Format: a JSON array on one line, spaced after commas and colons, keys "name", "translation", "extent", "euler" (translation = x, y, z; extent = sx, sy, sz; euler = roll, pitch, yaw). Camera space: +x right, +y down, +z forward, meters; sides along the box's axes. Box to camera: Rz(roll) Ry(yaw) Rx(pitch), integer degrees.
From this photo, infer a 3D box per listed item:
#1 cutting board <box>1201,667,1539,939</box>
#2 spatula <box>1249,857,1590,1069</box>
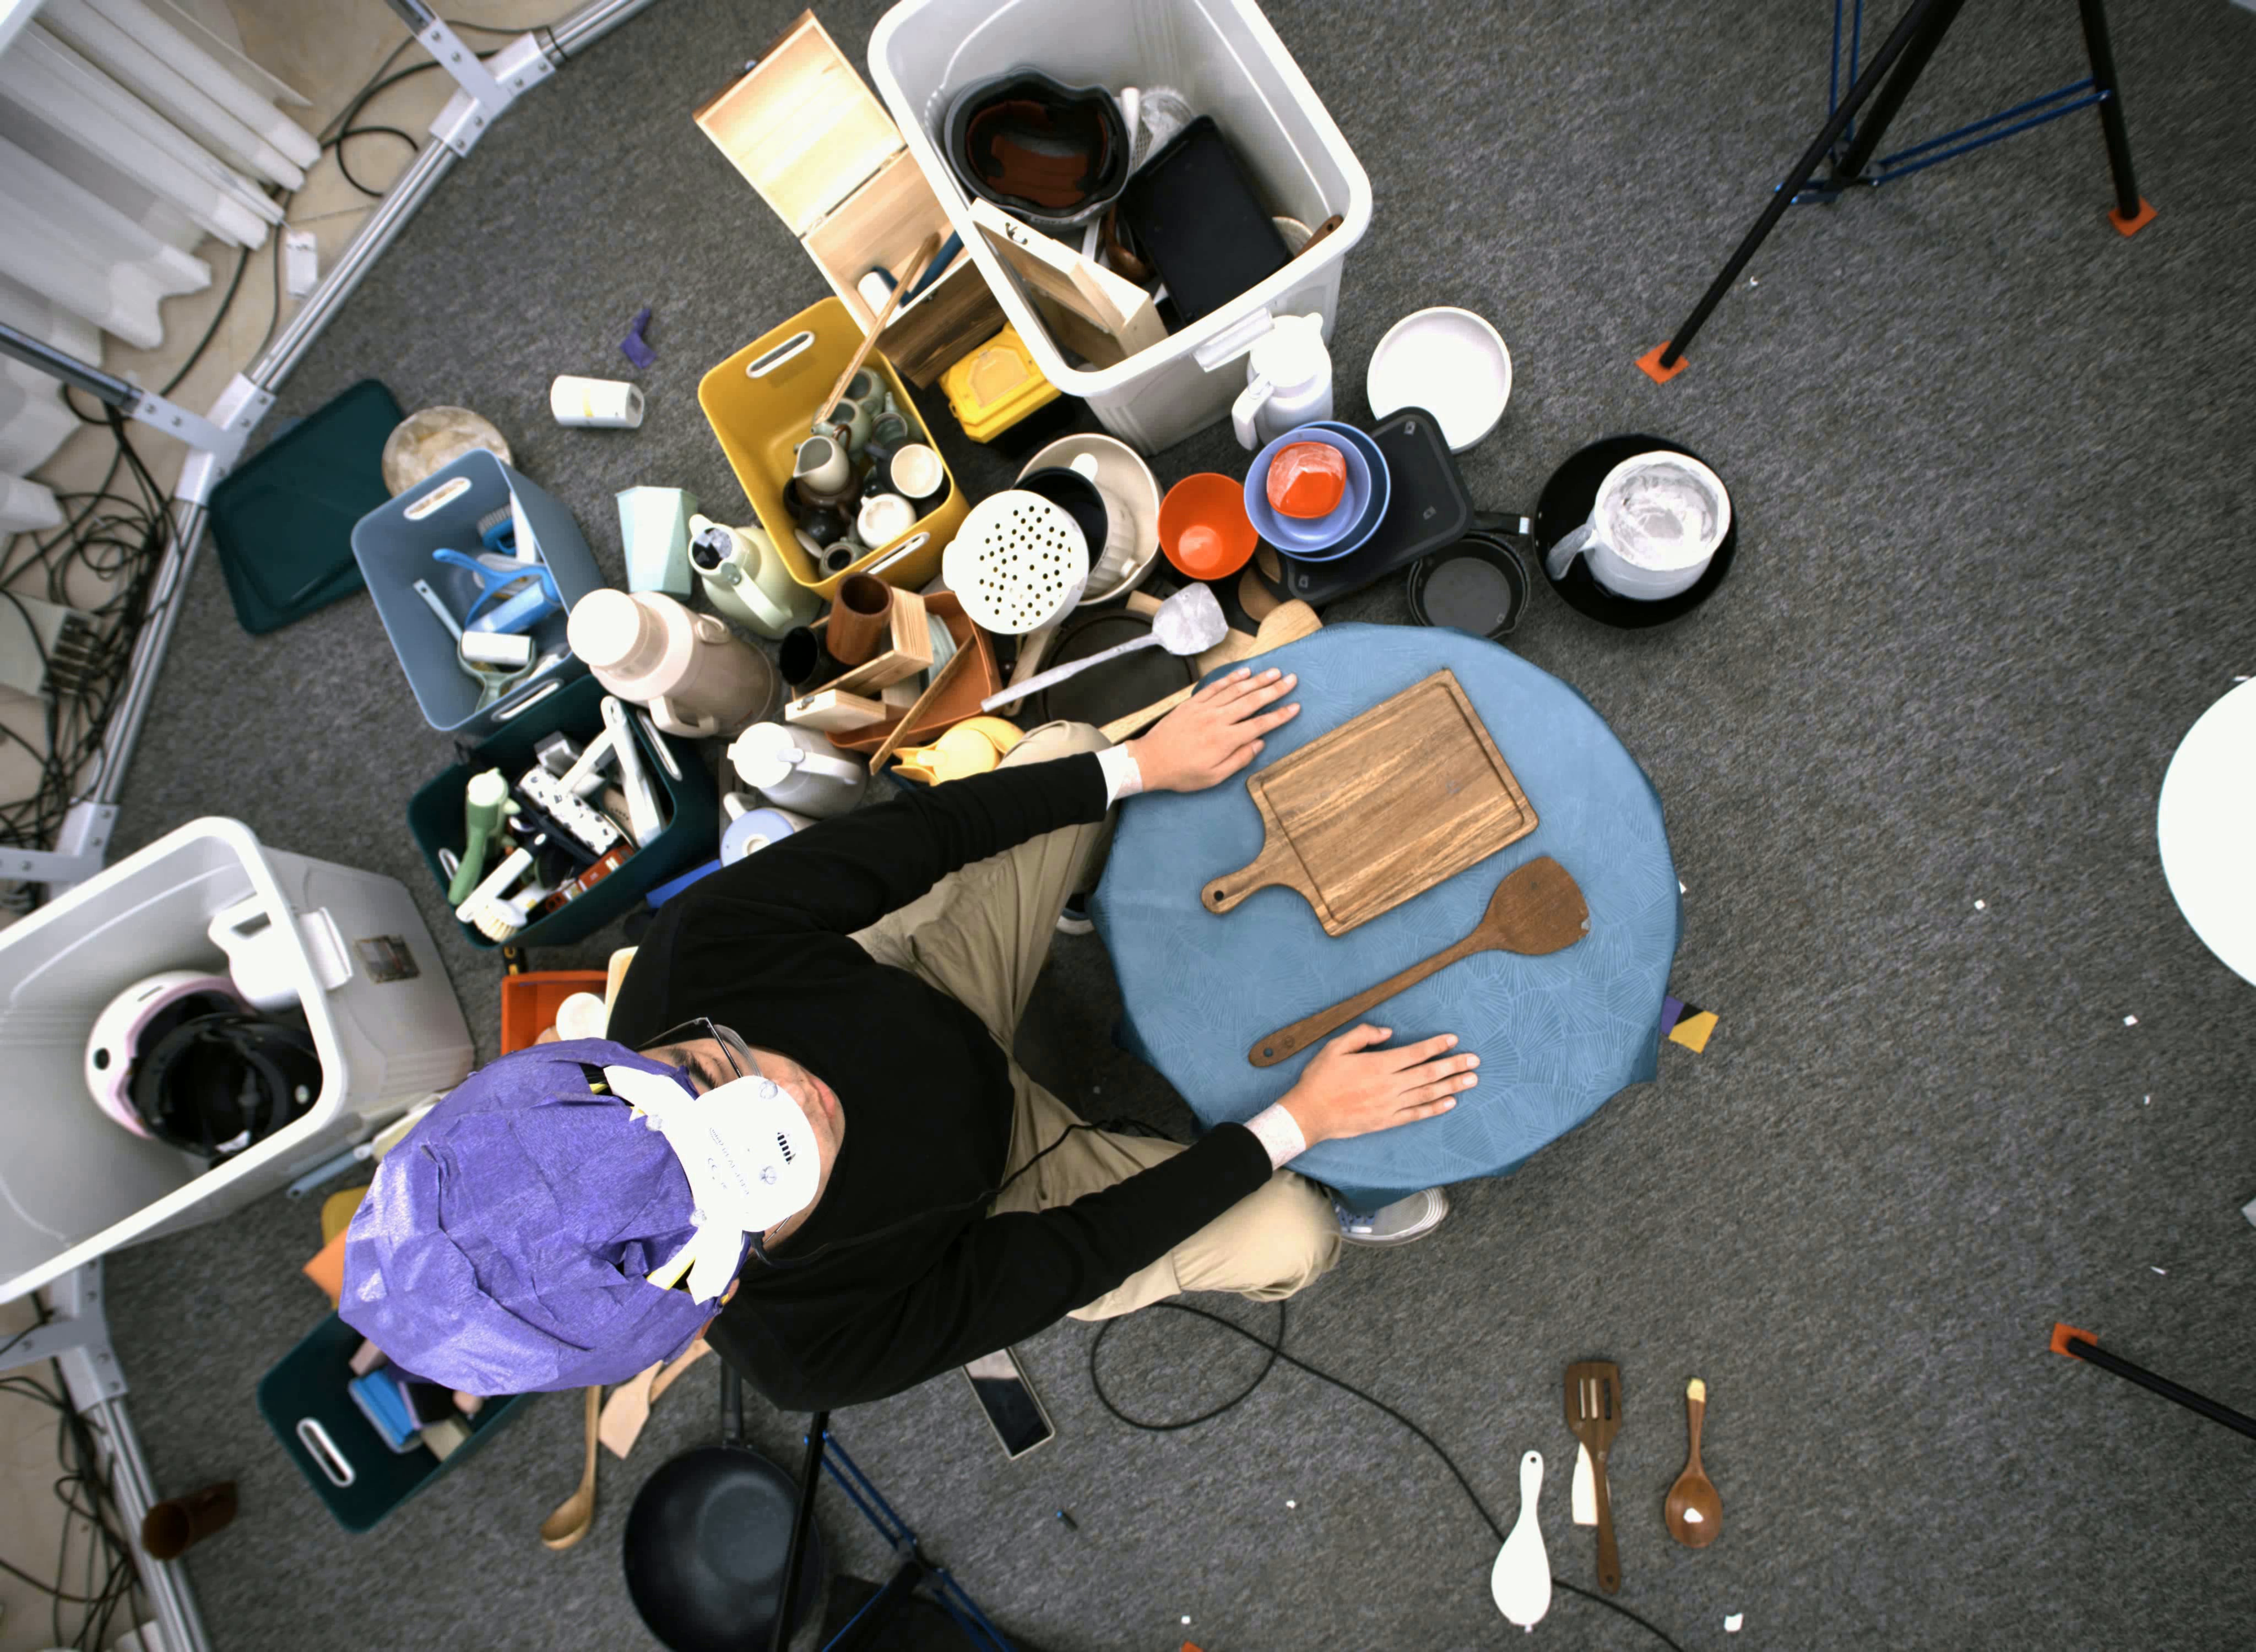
[{"name": "cutting board", "translation": [0.232, -0.002, 1.461], "extent": [0.354, 0.023, 0.200], "euler": [-30, 82, 8]}, {"name": "spatula", "translation": [0.297, 0.156, 1.443], "extent": [0.388, 0.016, 0.095], "euler": [-29, 81, 8]}]
